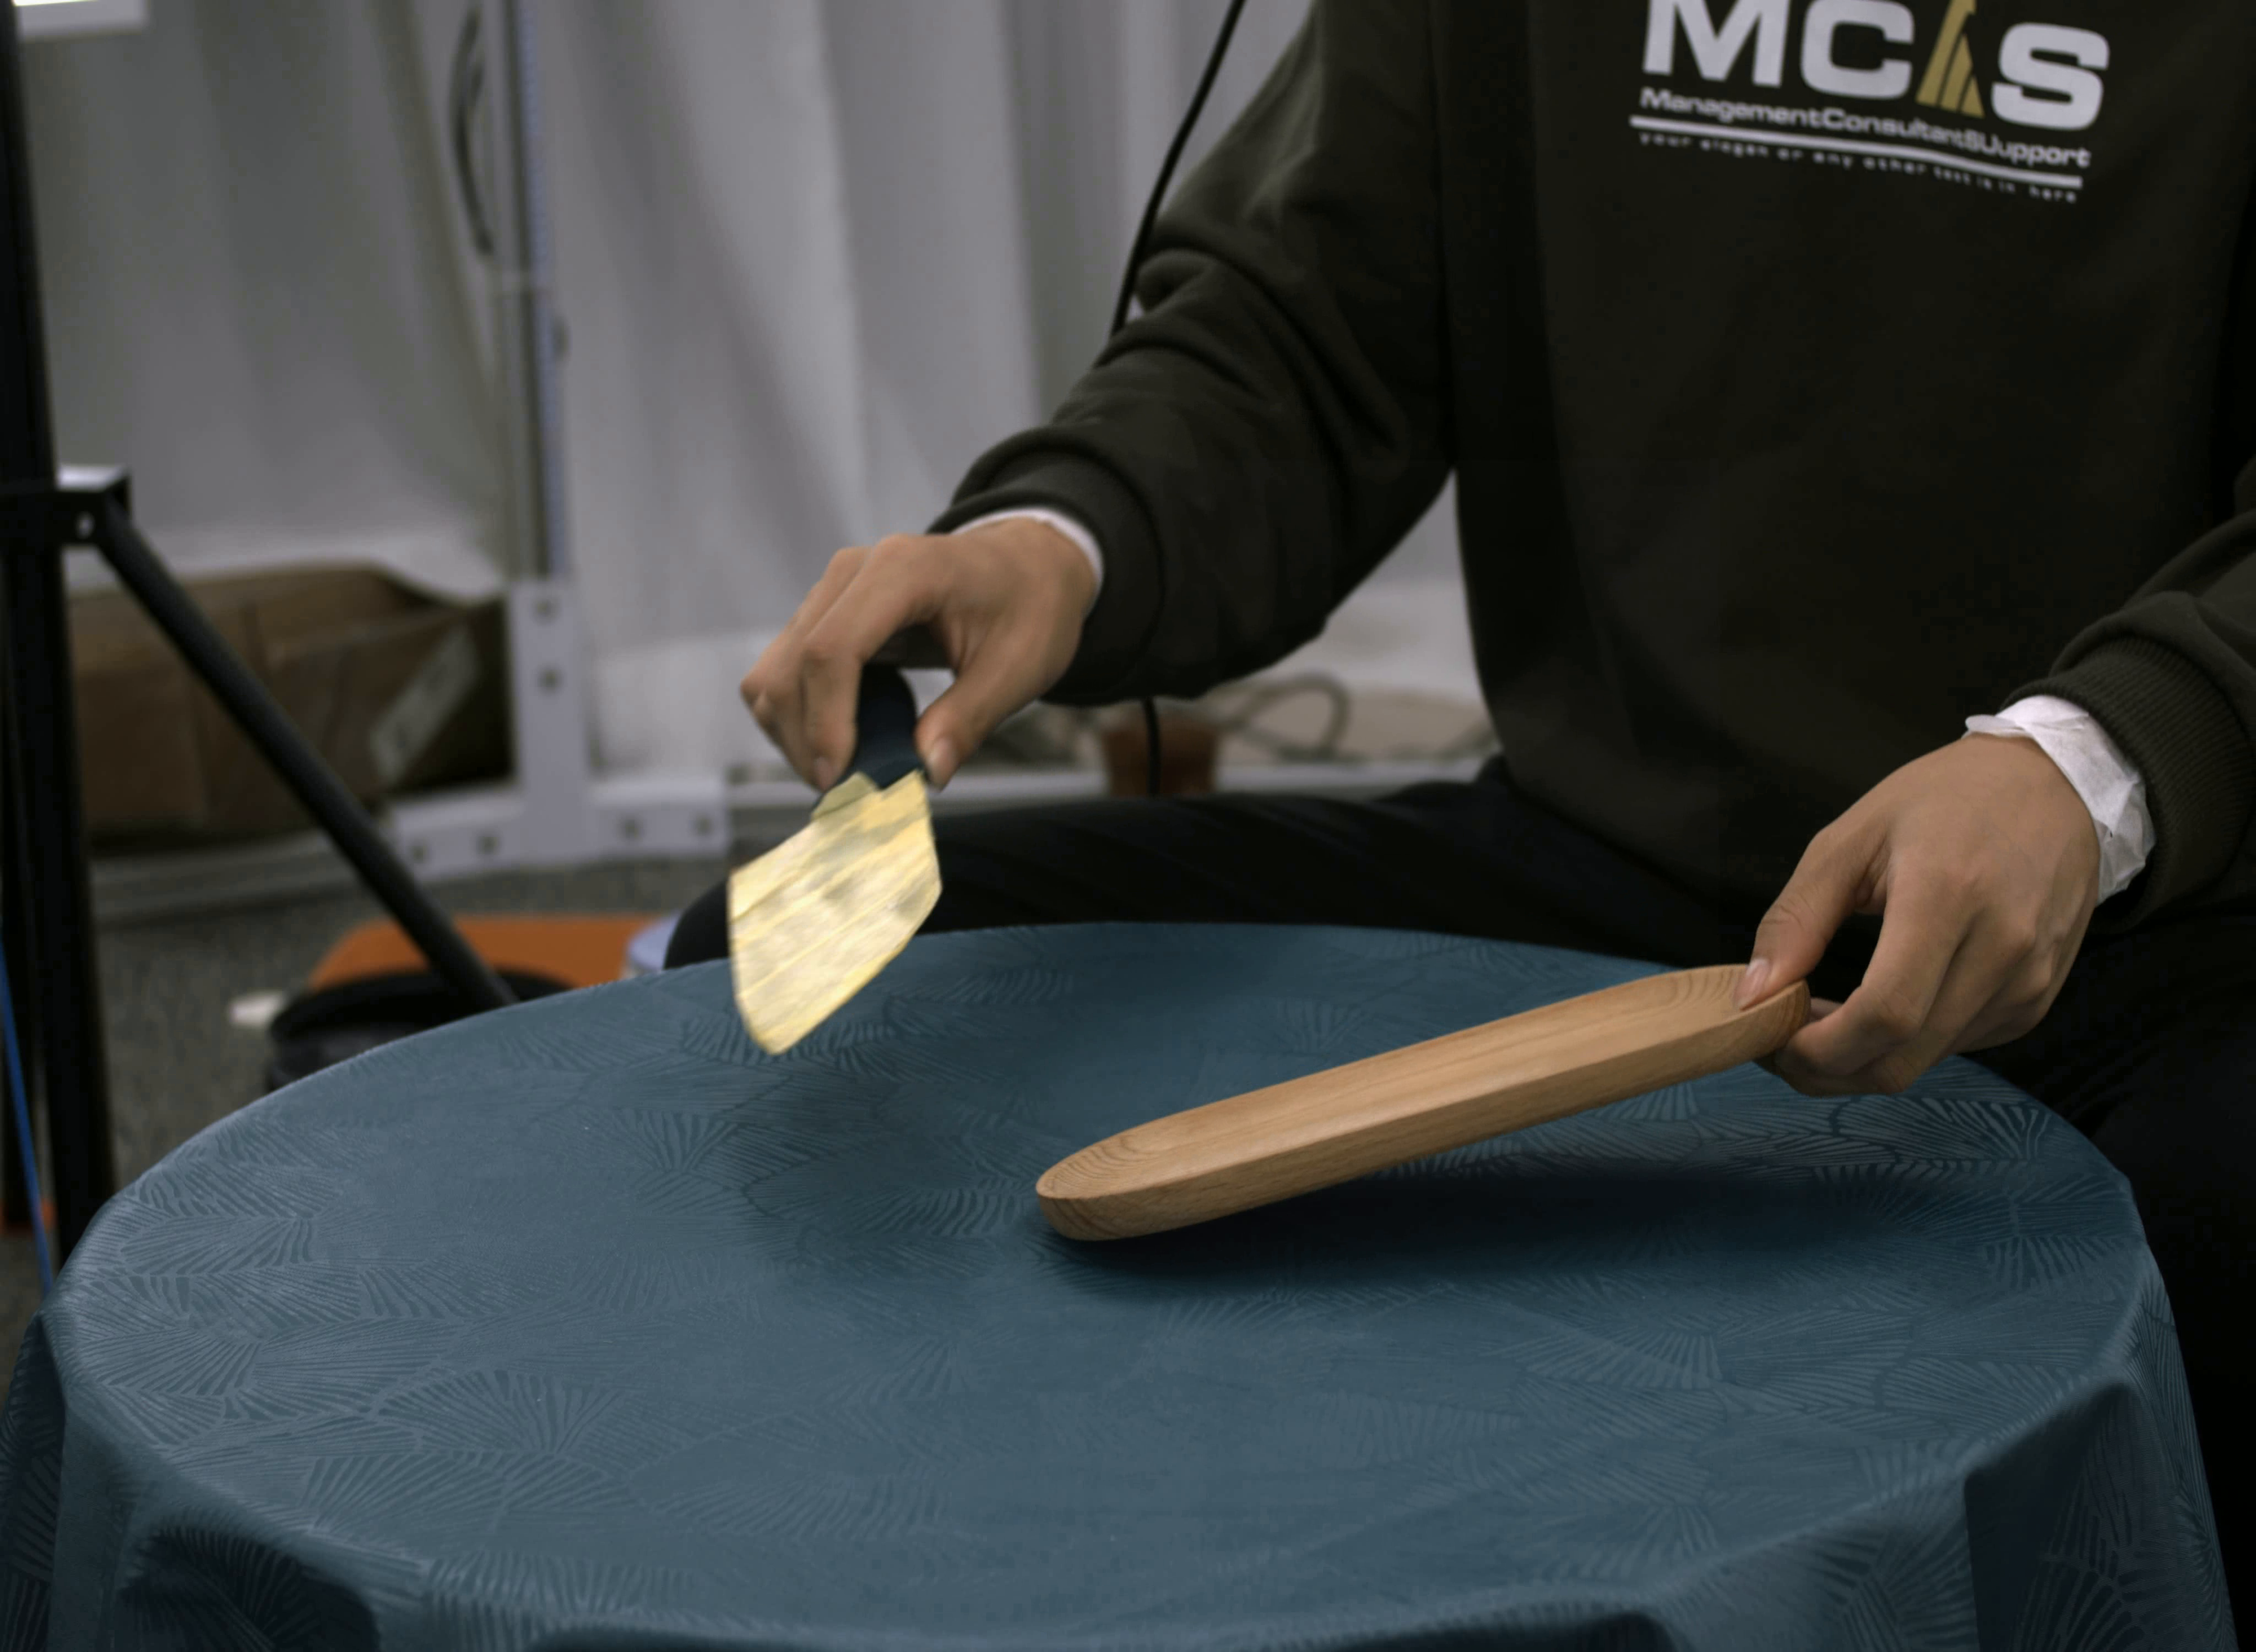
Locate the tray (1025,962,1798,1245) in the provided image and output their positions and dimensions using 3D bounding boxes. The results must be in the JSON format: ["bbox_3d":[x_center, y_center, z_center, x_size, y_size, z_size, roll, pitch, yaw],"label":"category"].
[{"bbox_3d":[0.083,0.080,1.527,0.230,0.020,0.102,-18,6,-3],"label":"tray"}]

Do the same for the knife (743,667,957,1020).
[{"bbox_3d":[-0.087,0.004,1.662,0.081,0.027,0.291,-33,16,8],"label":"knife"}]
